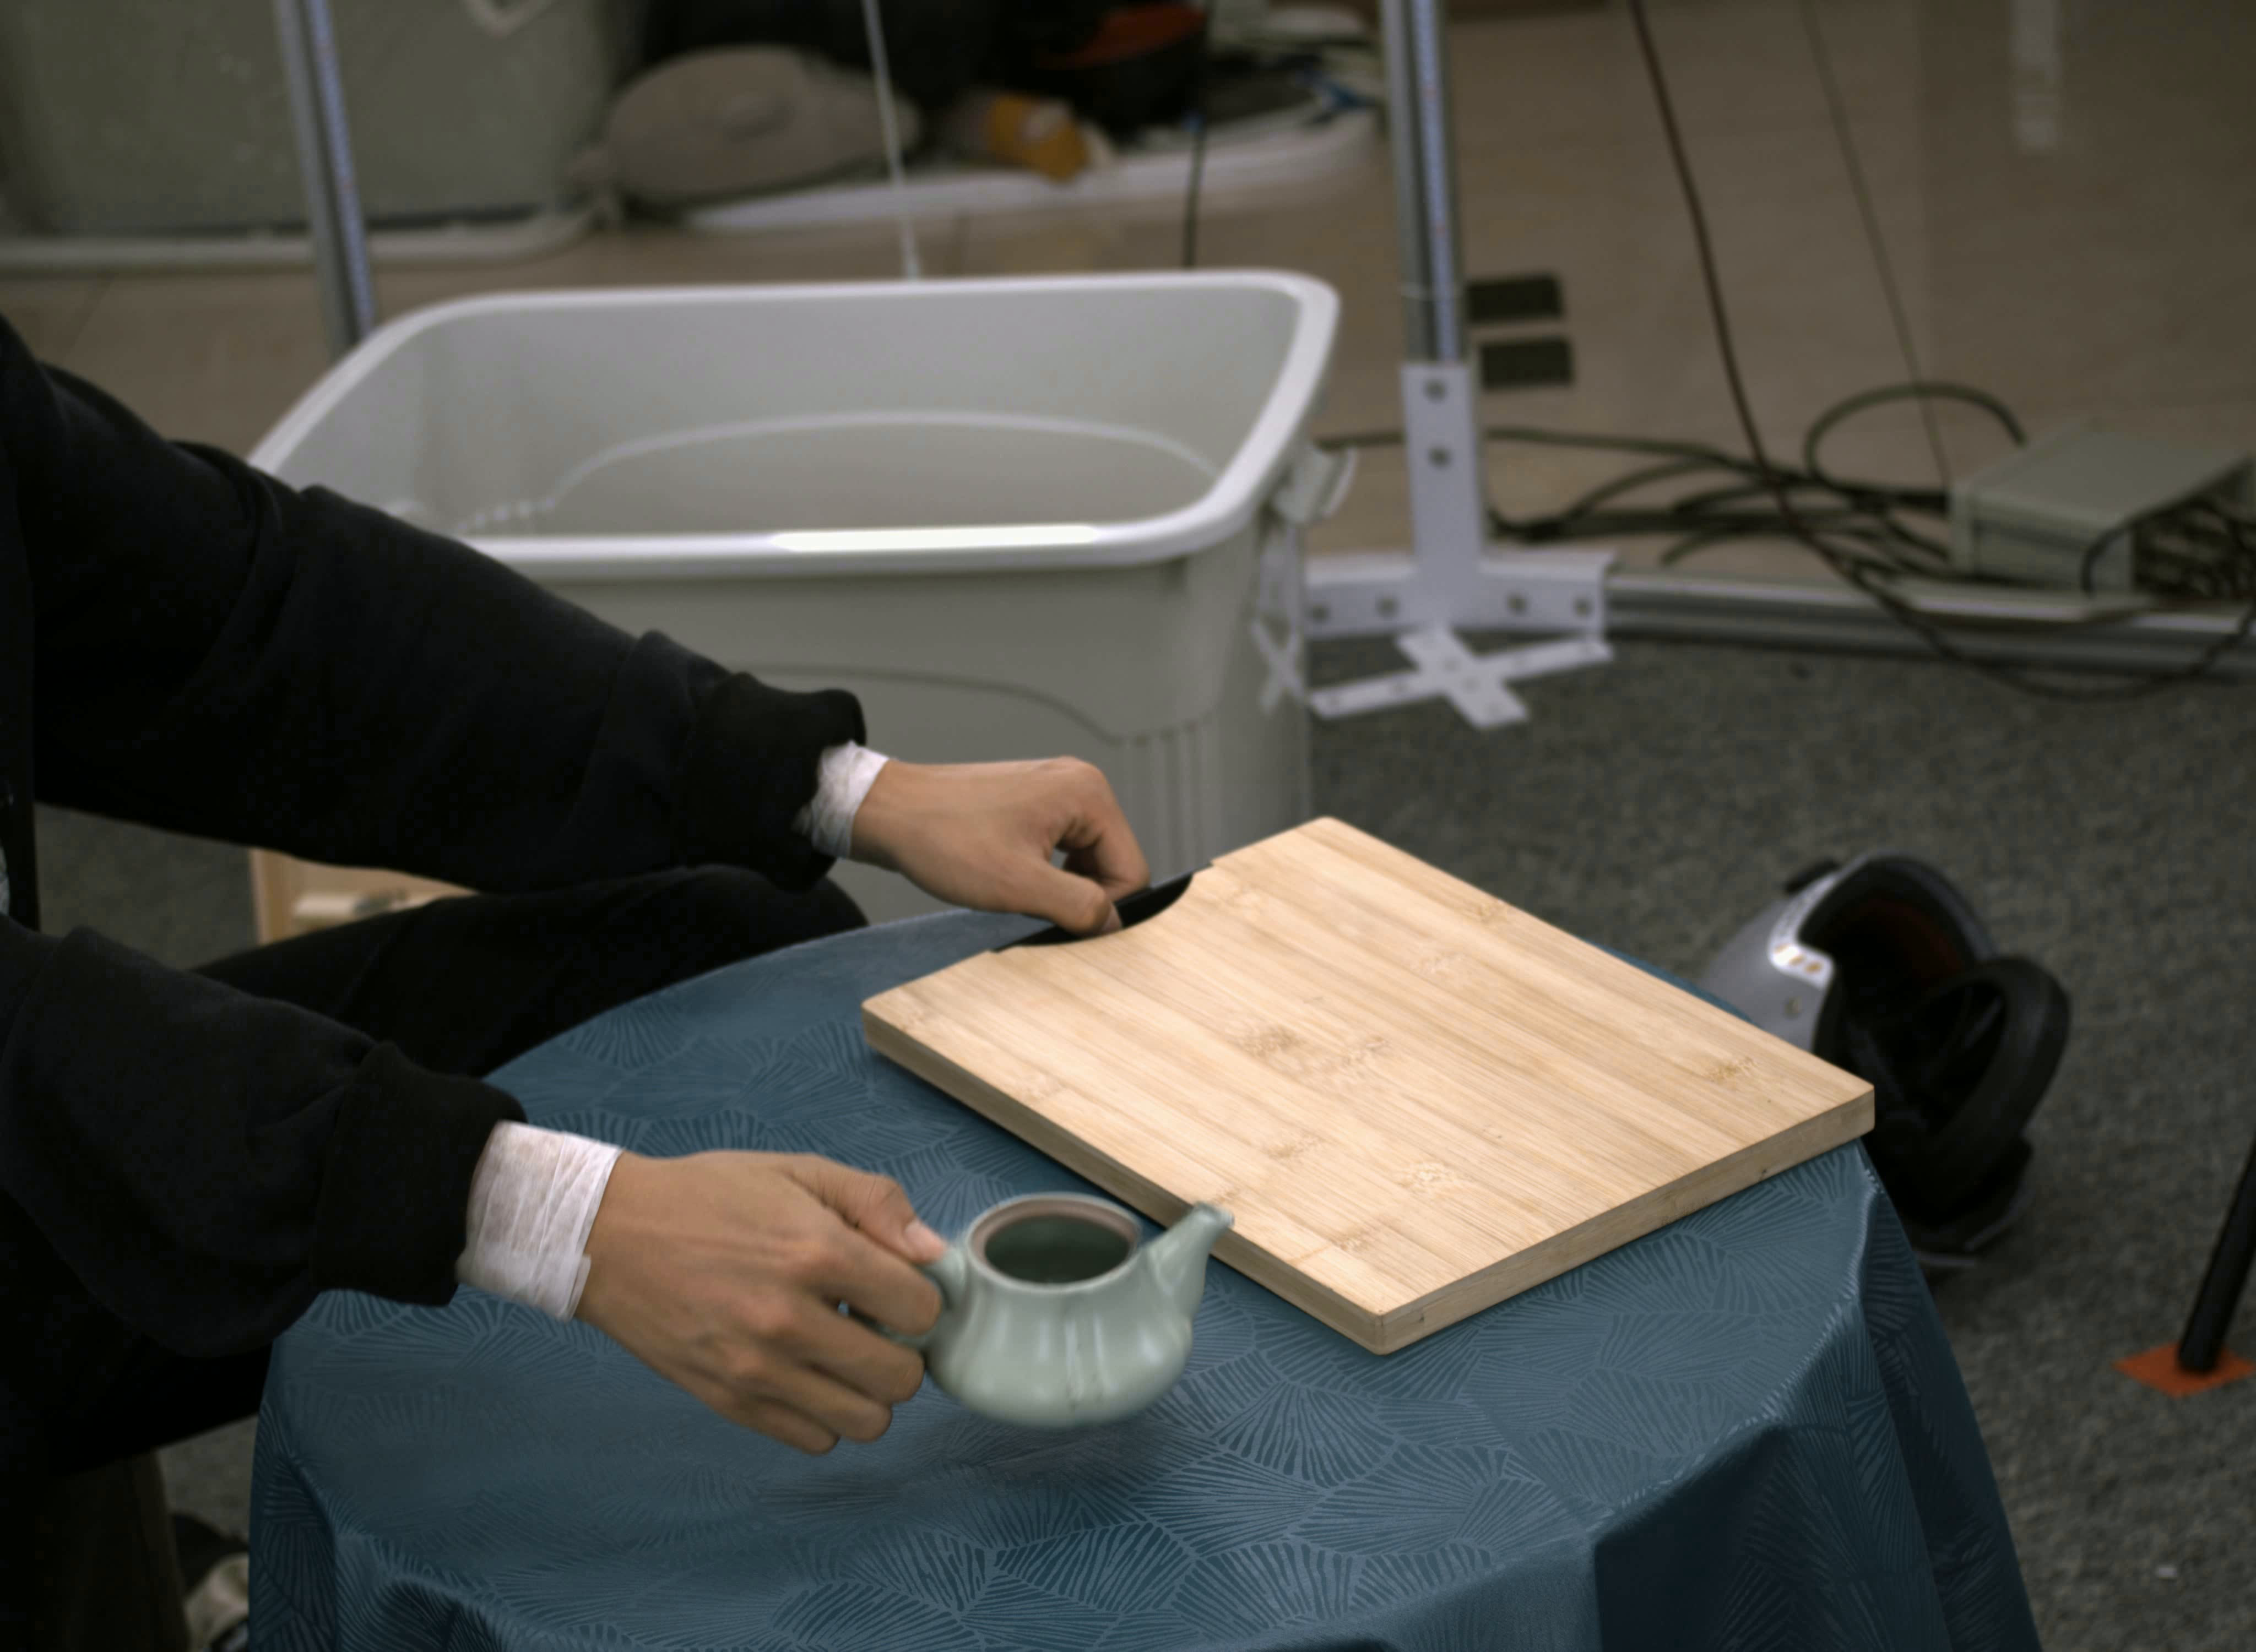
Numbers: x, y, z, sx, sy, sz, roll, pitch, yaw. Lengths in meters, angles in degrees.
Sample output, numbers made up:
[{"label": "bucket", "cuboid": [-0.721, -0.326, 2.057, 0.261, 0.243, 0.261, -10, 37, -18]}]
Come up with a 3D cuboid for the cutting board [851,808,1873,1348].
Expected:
[{"label": "cutting board", "cuboid": [0.084, 0.091, 2.204, 0.249, 0.024, 0.345, -22, 31, -31]}]

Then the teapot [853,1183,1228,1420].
[{"label": "teapot", "cuboid": [-0.030, 0.163, 1.967, 0.136, 0.062, 0.095, -8, 32, -18]}]
